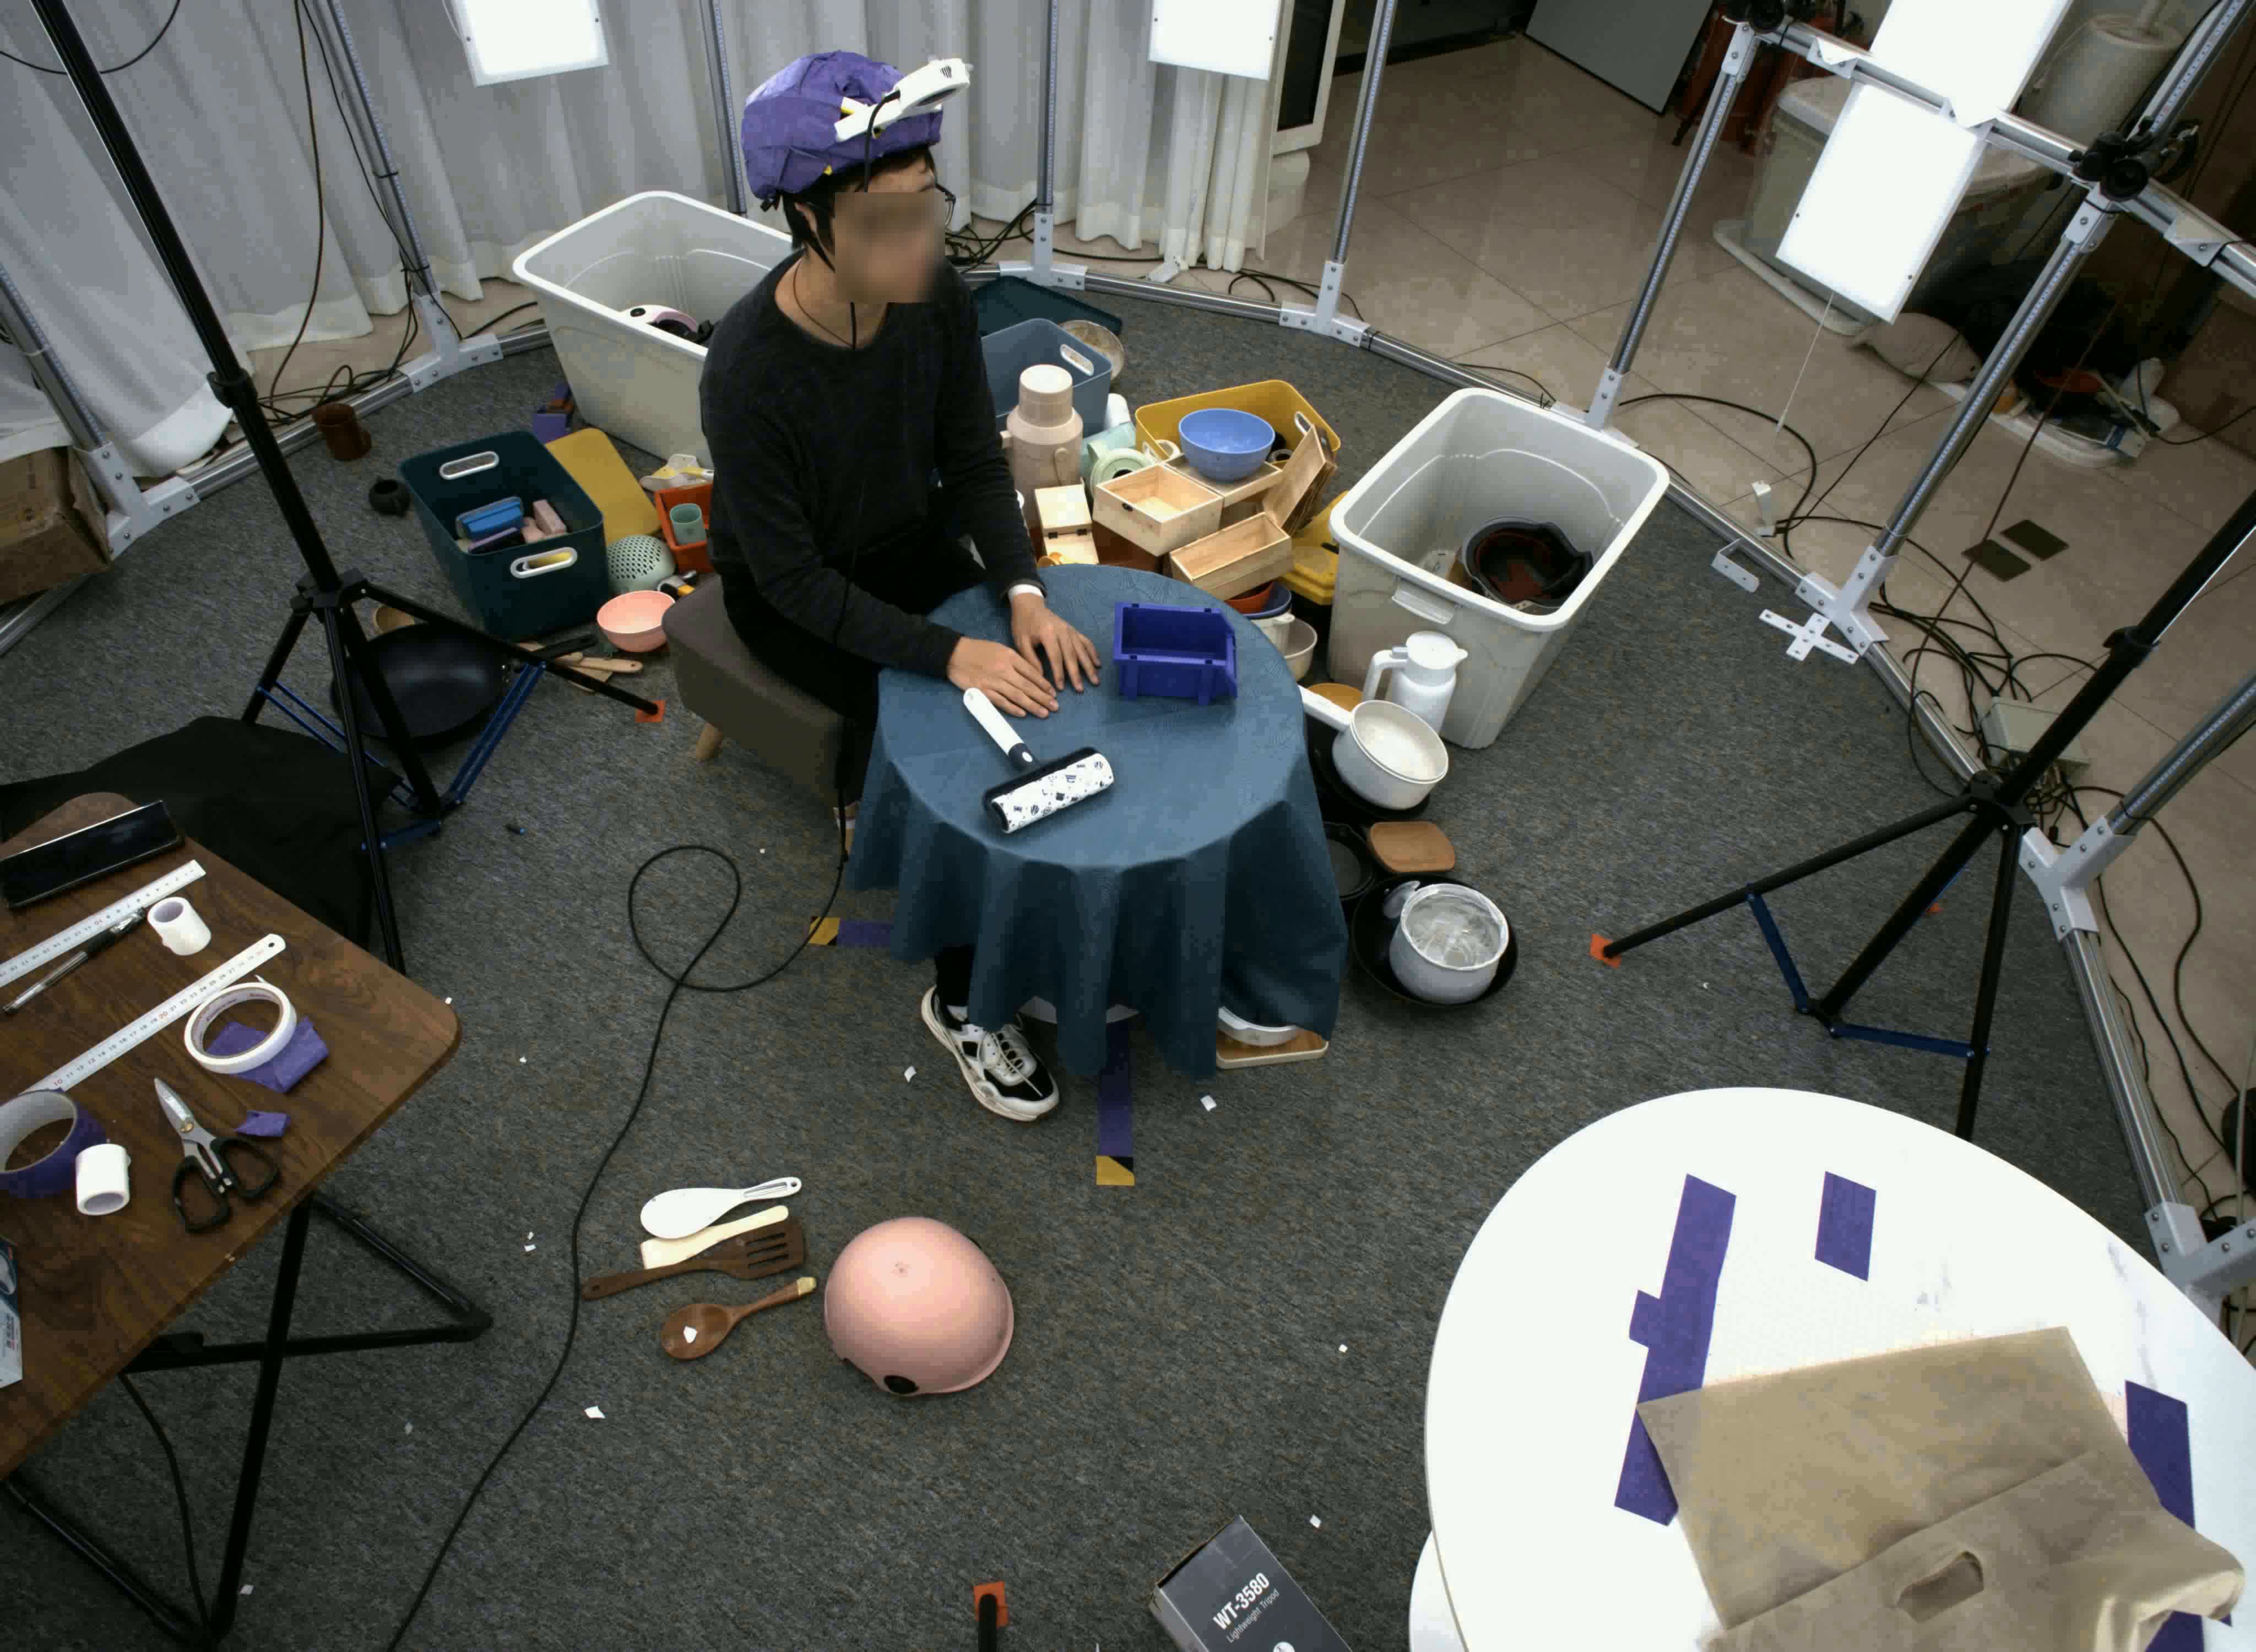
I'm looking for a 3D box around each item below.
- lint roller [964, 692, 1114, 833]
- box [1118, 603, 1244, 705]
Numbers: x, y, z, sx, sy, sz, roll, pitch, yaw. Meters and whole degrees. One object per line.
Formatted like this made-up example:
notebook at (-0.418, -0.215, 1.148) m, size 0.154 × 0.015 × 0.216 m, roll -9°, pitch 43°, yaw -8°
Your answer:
lint roller at (-0.156, -0.108, 1.726) m, size 0.177 × 0.049 × 0.252 m, roll -26°, pitch 54°, yaw -23°
box at (0.078, -0.247, 1.837) m, size 0.179 × 0.080 × 0.127 m, roll 3°, pitch 49°, yaw 2°
